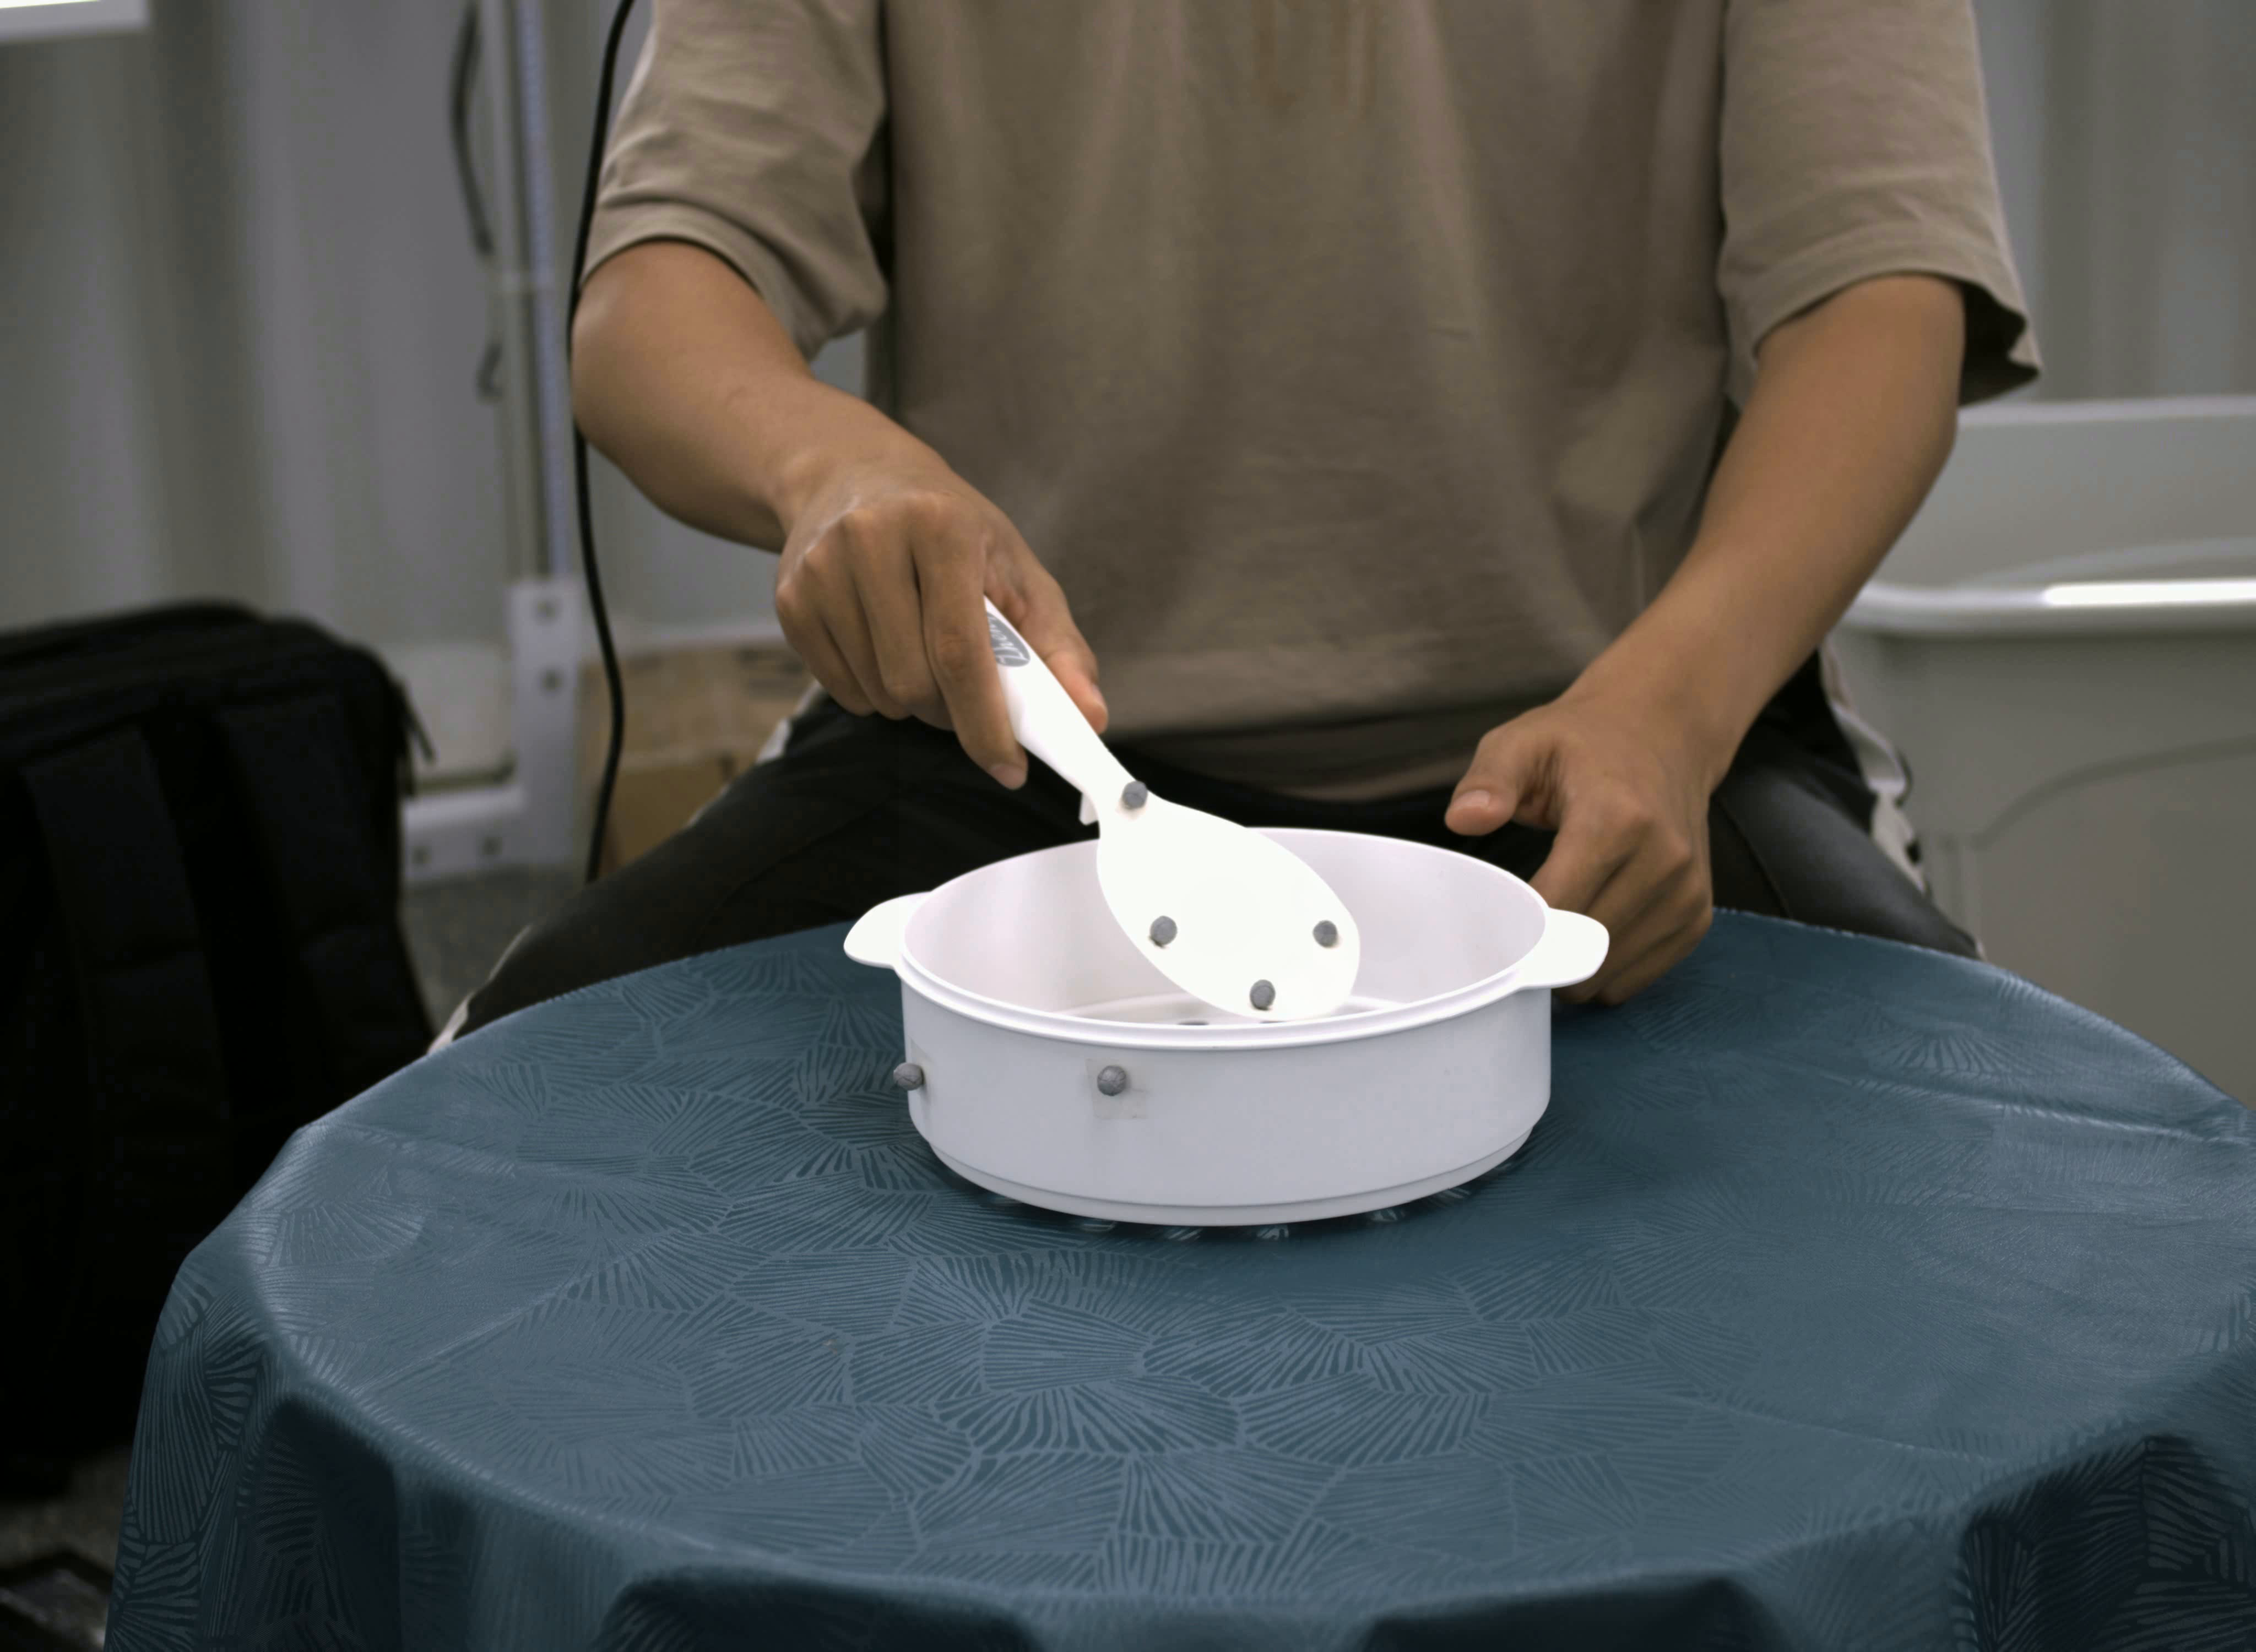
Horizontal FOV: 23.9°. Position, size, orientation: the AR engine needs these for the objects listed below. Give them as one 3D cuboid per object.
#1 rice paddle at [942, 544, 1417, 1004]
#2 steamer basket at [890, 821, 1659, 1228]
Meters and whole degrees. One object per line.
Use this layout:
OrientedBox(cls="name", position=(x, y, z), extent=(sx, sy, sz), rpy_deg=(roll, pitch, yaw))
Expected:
OrientedBox(cls="rice paddle", position=(0.015, -0.015, 1.628), extent=(0.067, 0.029, 0.209), rpy_deg=(-22, 51, -30))
OrientedBox(cls="steamer basket", position=(0.043, 0.059, 1.592), extent=(0.232, 0.069, 0.200), rpy_deg=(4, 17, 13))
